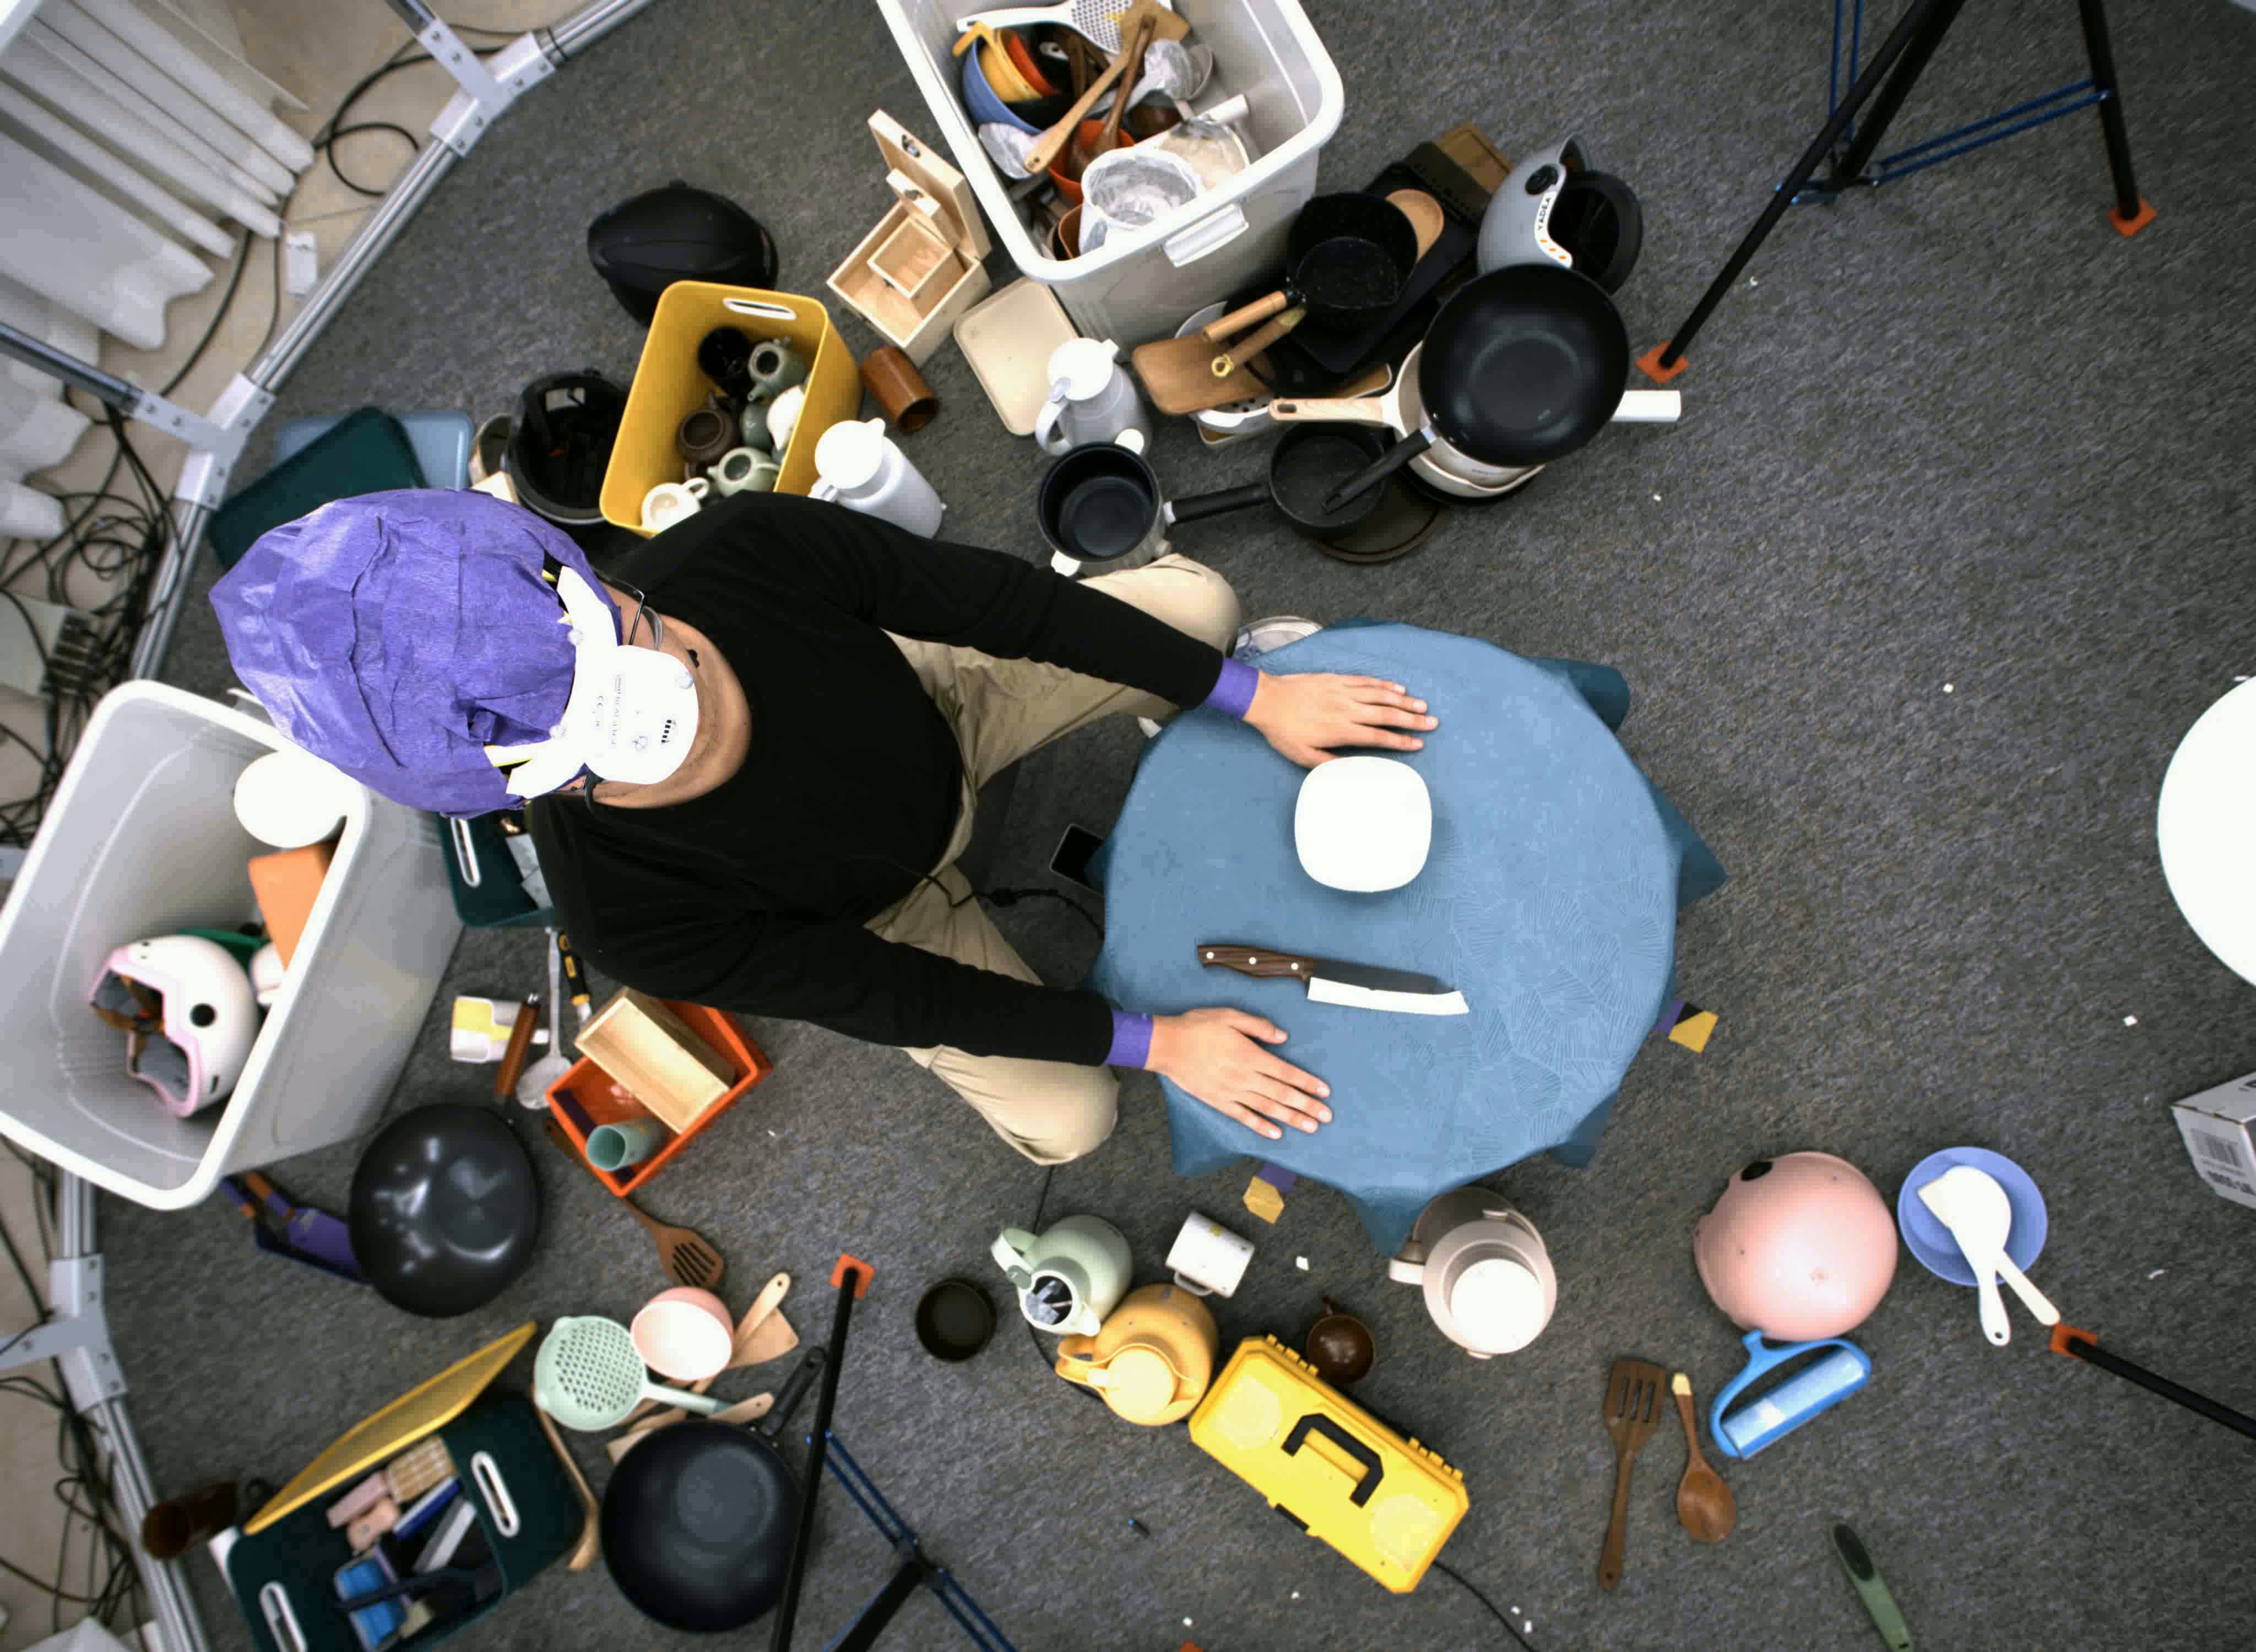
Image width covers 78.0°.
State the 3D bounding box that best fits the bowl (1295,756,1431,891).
[{"bbox_3d":[0.244,-0.002,1.441,0.152,0.058,0.151,-1,87,9],"label":"bowl"}]

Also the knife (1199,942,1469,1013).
[{"bbox_3d":[0.215,0.159,1.460,0.289,0.020,0.050,11,93,9],"label":"knife"}]
